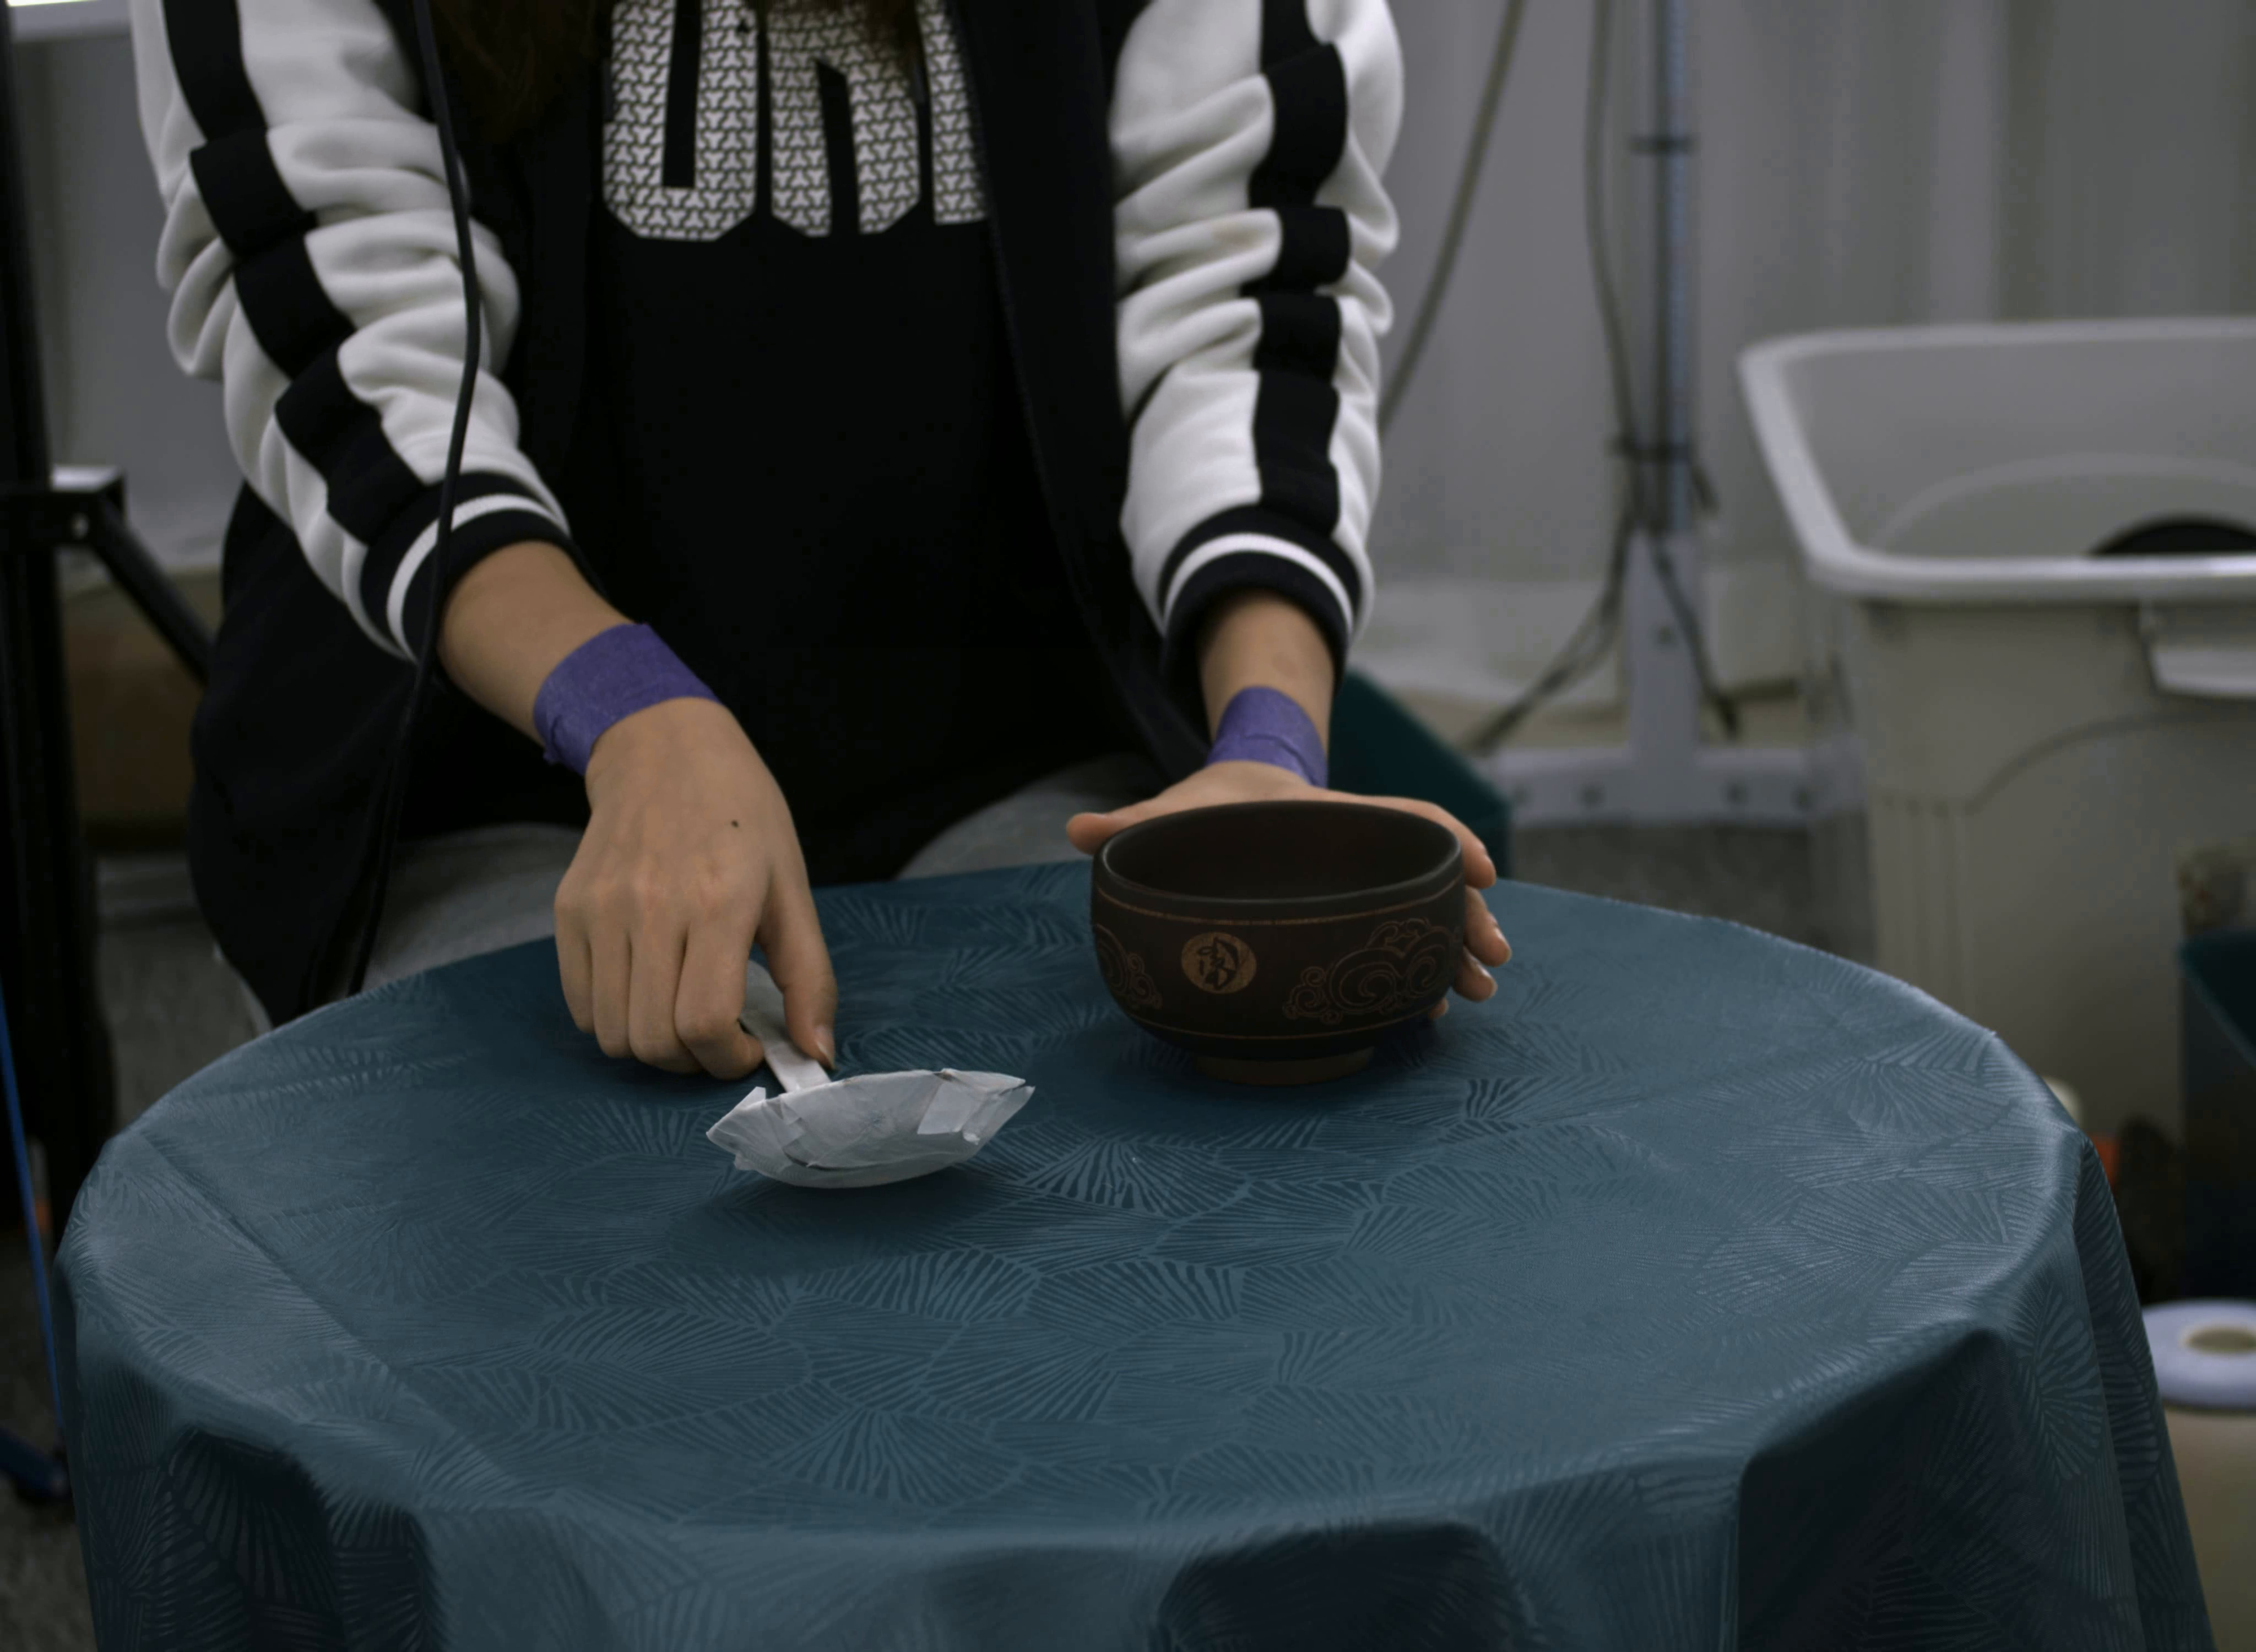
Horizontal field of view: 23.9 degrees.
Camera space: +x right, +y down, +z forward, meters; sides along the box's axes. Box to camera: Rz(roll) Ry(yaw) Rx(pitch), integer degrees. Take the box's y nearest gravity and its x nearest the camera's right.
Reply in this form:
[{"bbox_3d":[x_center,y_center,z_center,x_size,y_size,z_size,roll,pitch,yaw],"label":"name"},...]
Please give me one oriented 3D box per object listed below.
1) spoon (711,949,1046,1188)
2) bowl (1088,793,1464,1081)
[{"bbox_3d":[-0.091,0.057,1.645,0.099,0.059,0.281,-1,16,-11],"label":"spoon"},{"bbox_3d":[0.047,0.039,1.662,0.117,0.070,0.118,-2,16,-1],"label":"bowl"}]
